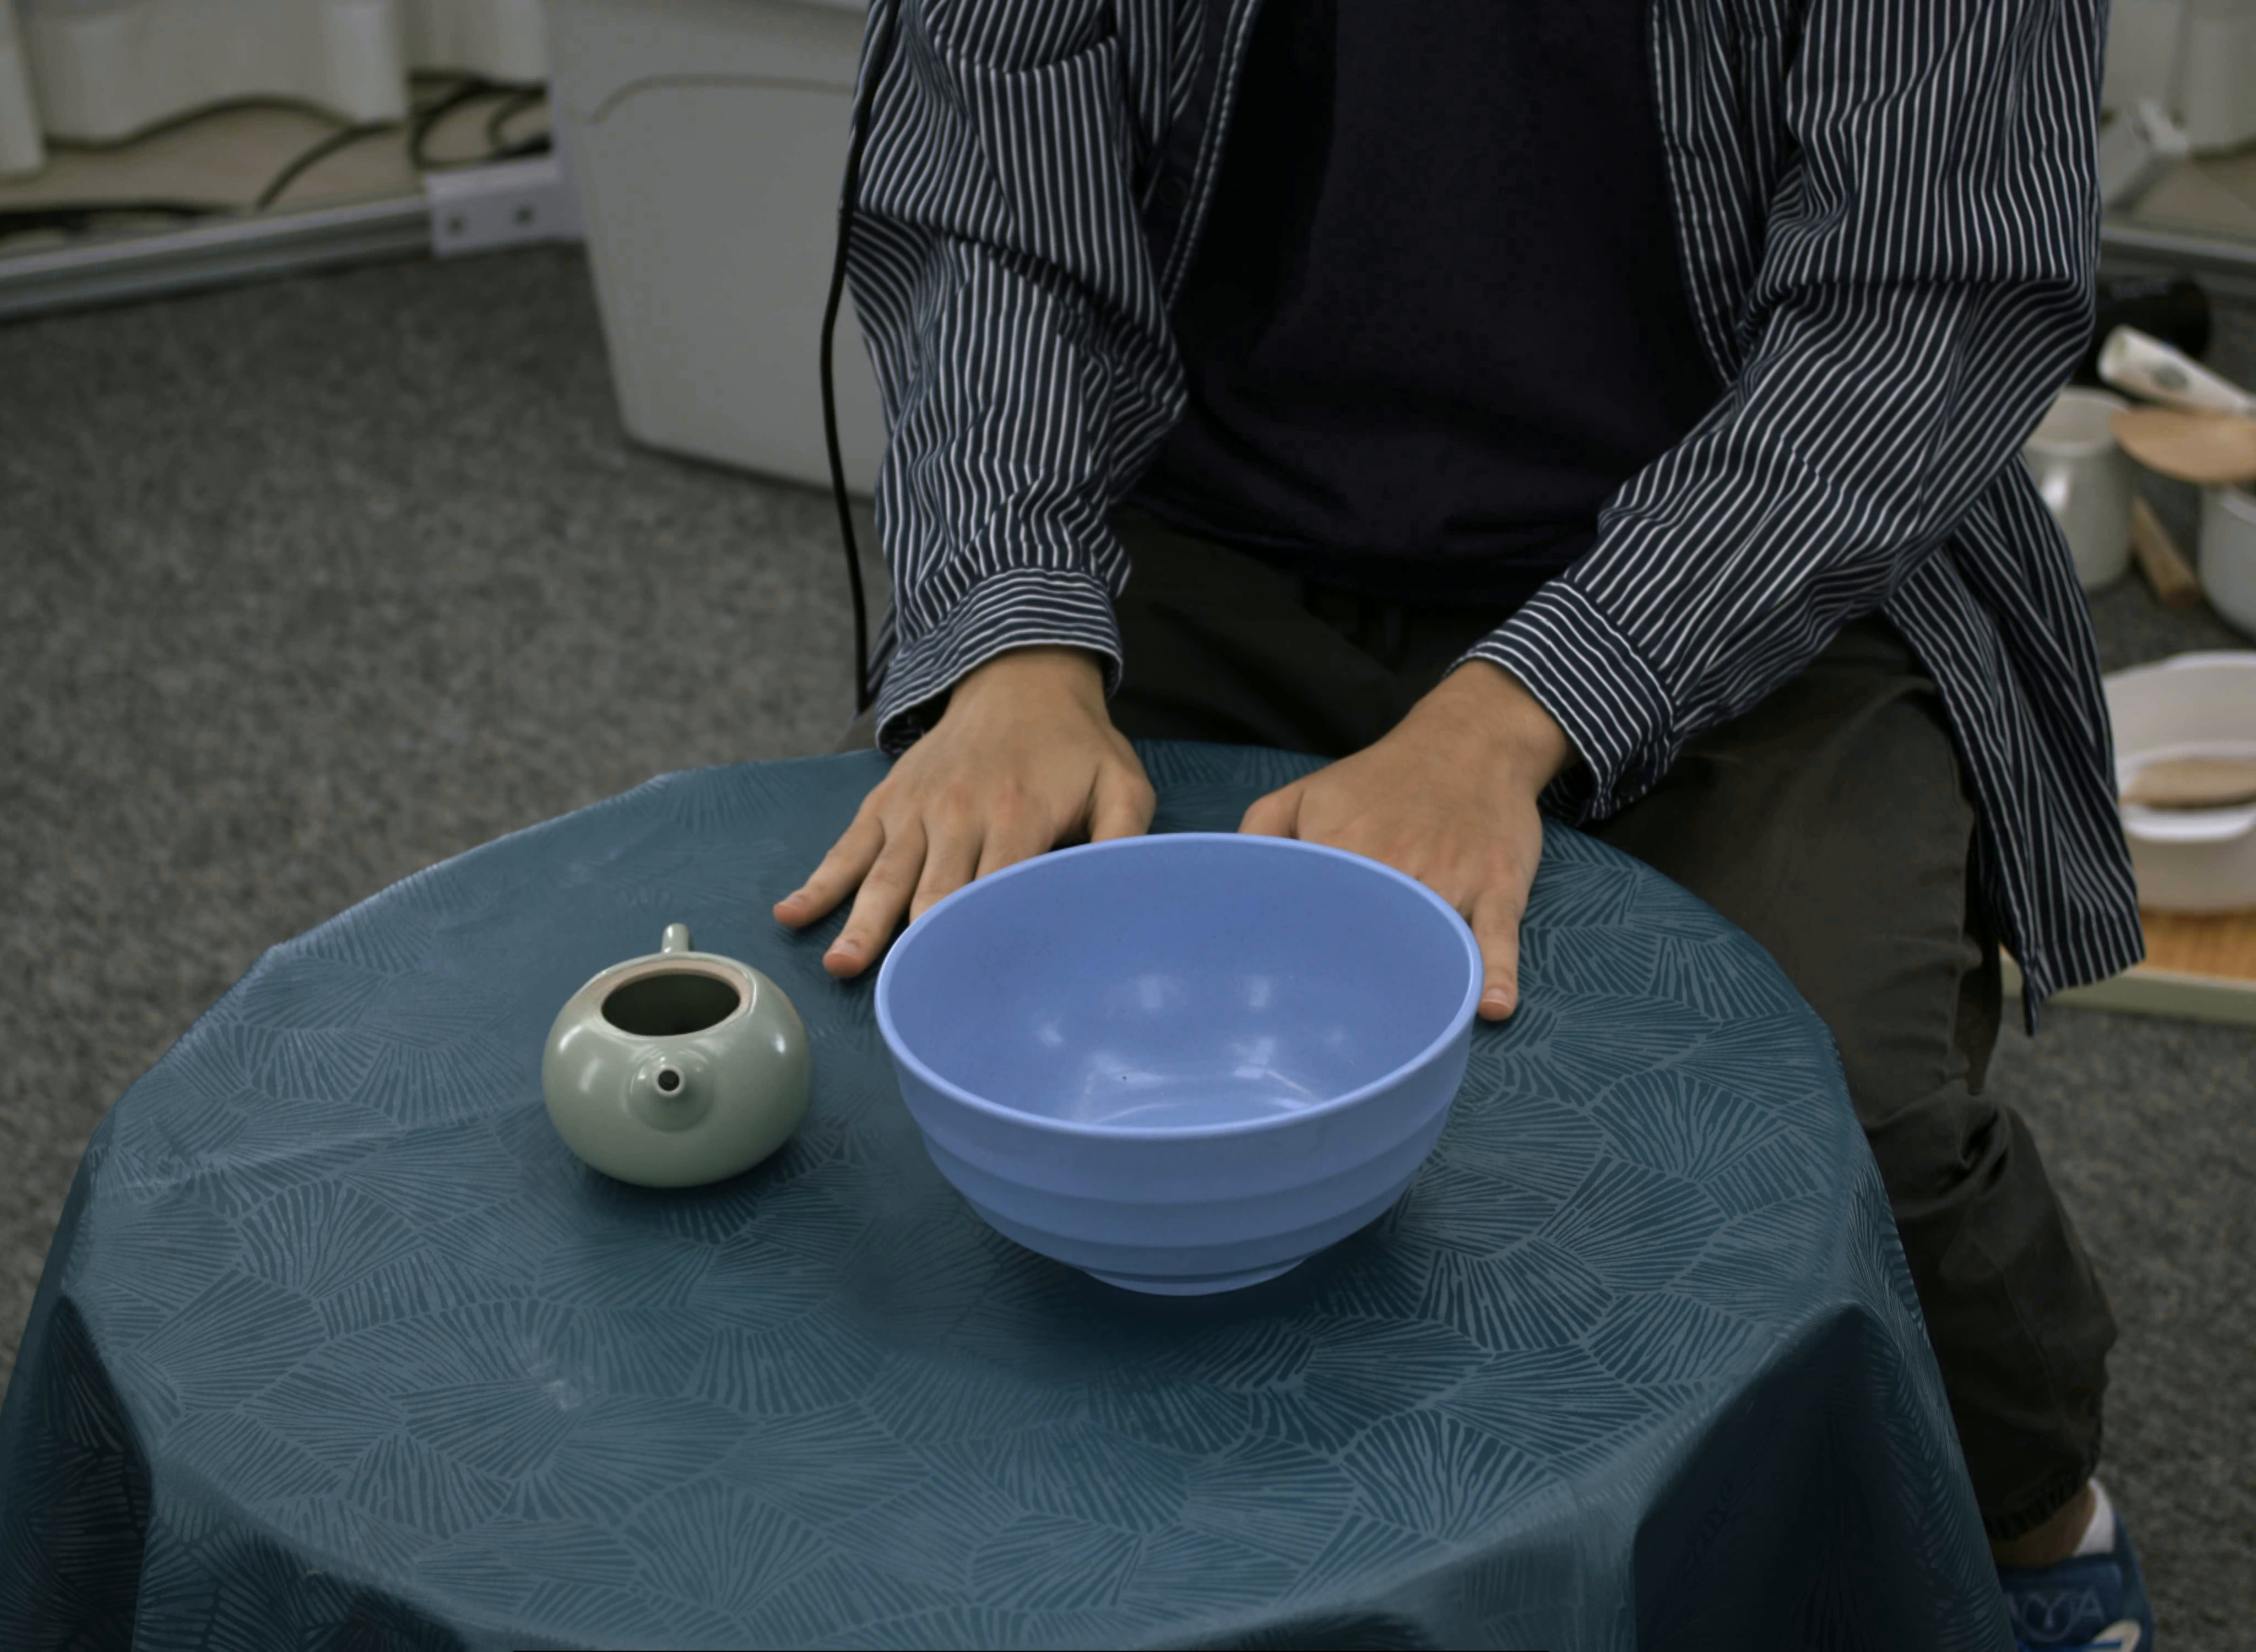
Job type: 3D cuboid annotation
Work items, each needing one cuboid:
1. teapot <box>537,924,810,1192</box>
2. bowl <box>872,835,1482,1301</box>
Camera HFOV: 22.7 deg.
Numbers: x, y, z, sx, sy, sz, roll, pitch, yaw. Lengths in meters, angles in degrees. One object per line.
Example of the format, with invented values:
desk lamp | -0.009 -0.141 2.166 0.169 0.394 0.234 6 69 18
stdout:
teapot | -0.152 0.079 1.890 0.091 0.060 0.130 -4 26 3
bowl | 0.018 0.089 1.817 0.195 0.094 0.199 -3 27 2
